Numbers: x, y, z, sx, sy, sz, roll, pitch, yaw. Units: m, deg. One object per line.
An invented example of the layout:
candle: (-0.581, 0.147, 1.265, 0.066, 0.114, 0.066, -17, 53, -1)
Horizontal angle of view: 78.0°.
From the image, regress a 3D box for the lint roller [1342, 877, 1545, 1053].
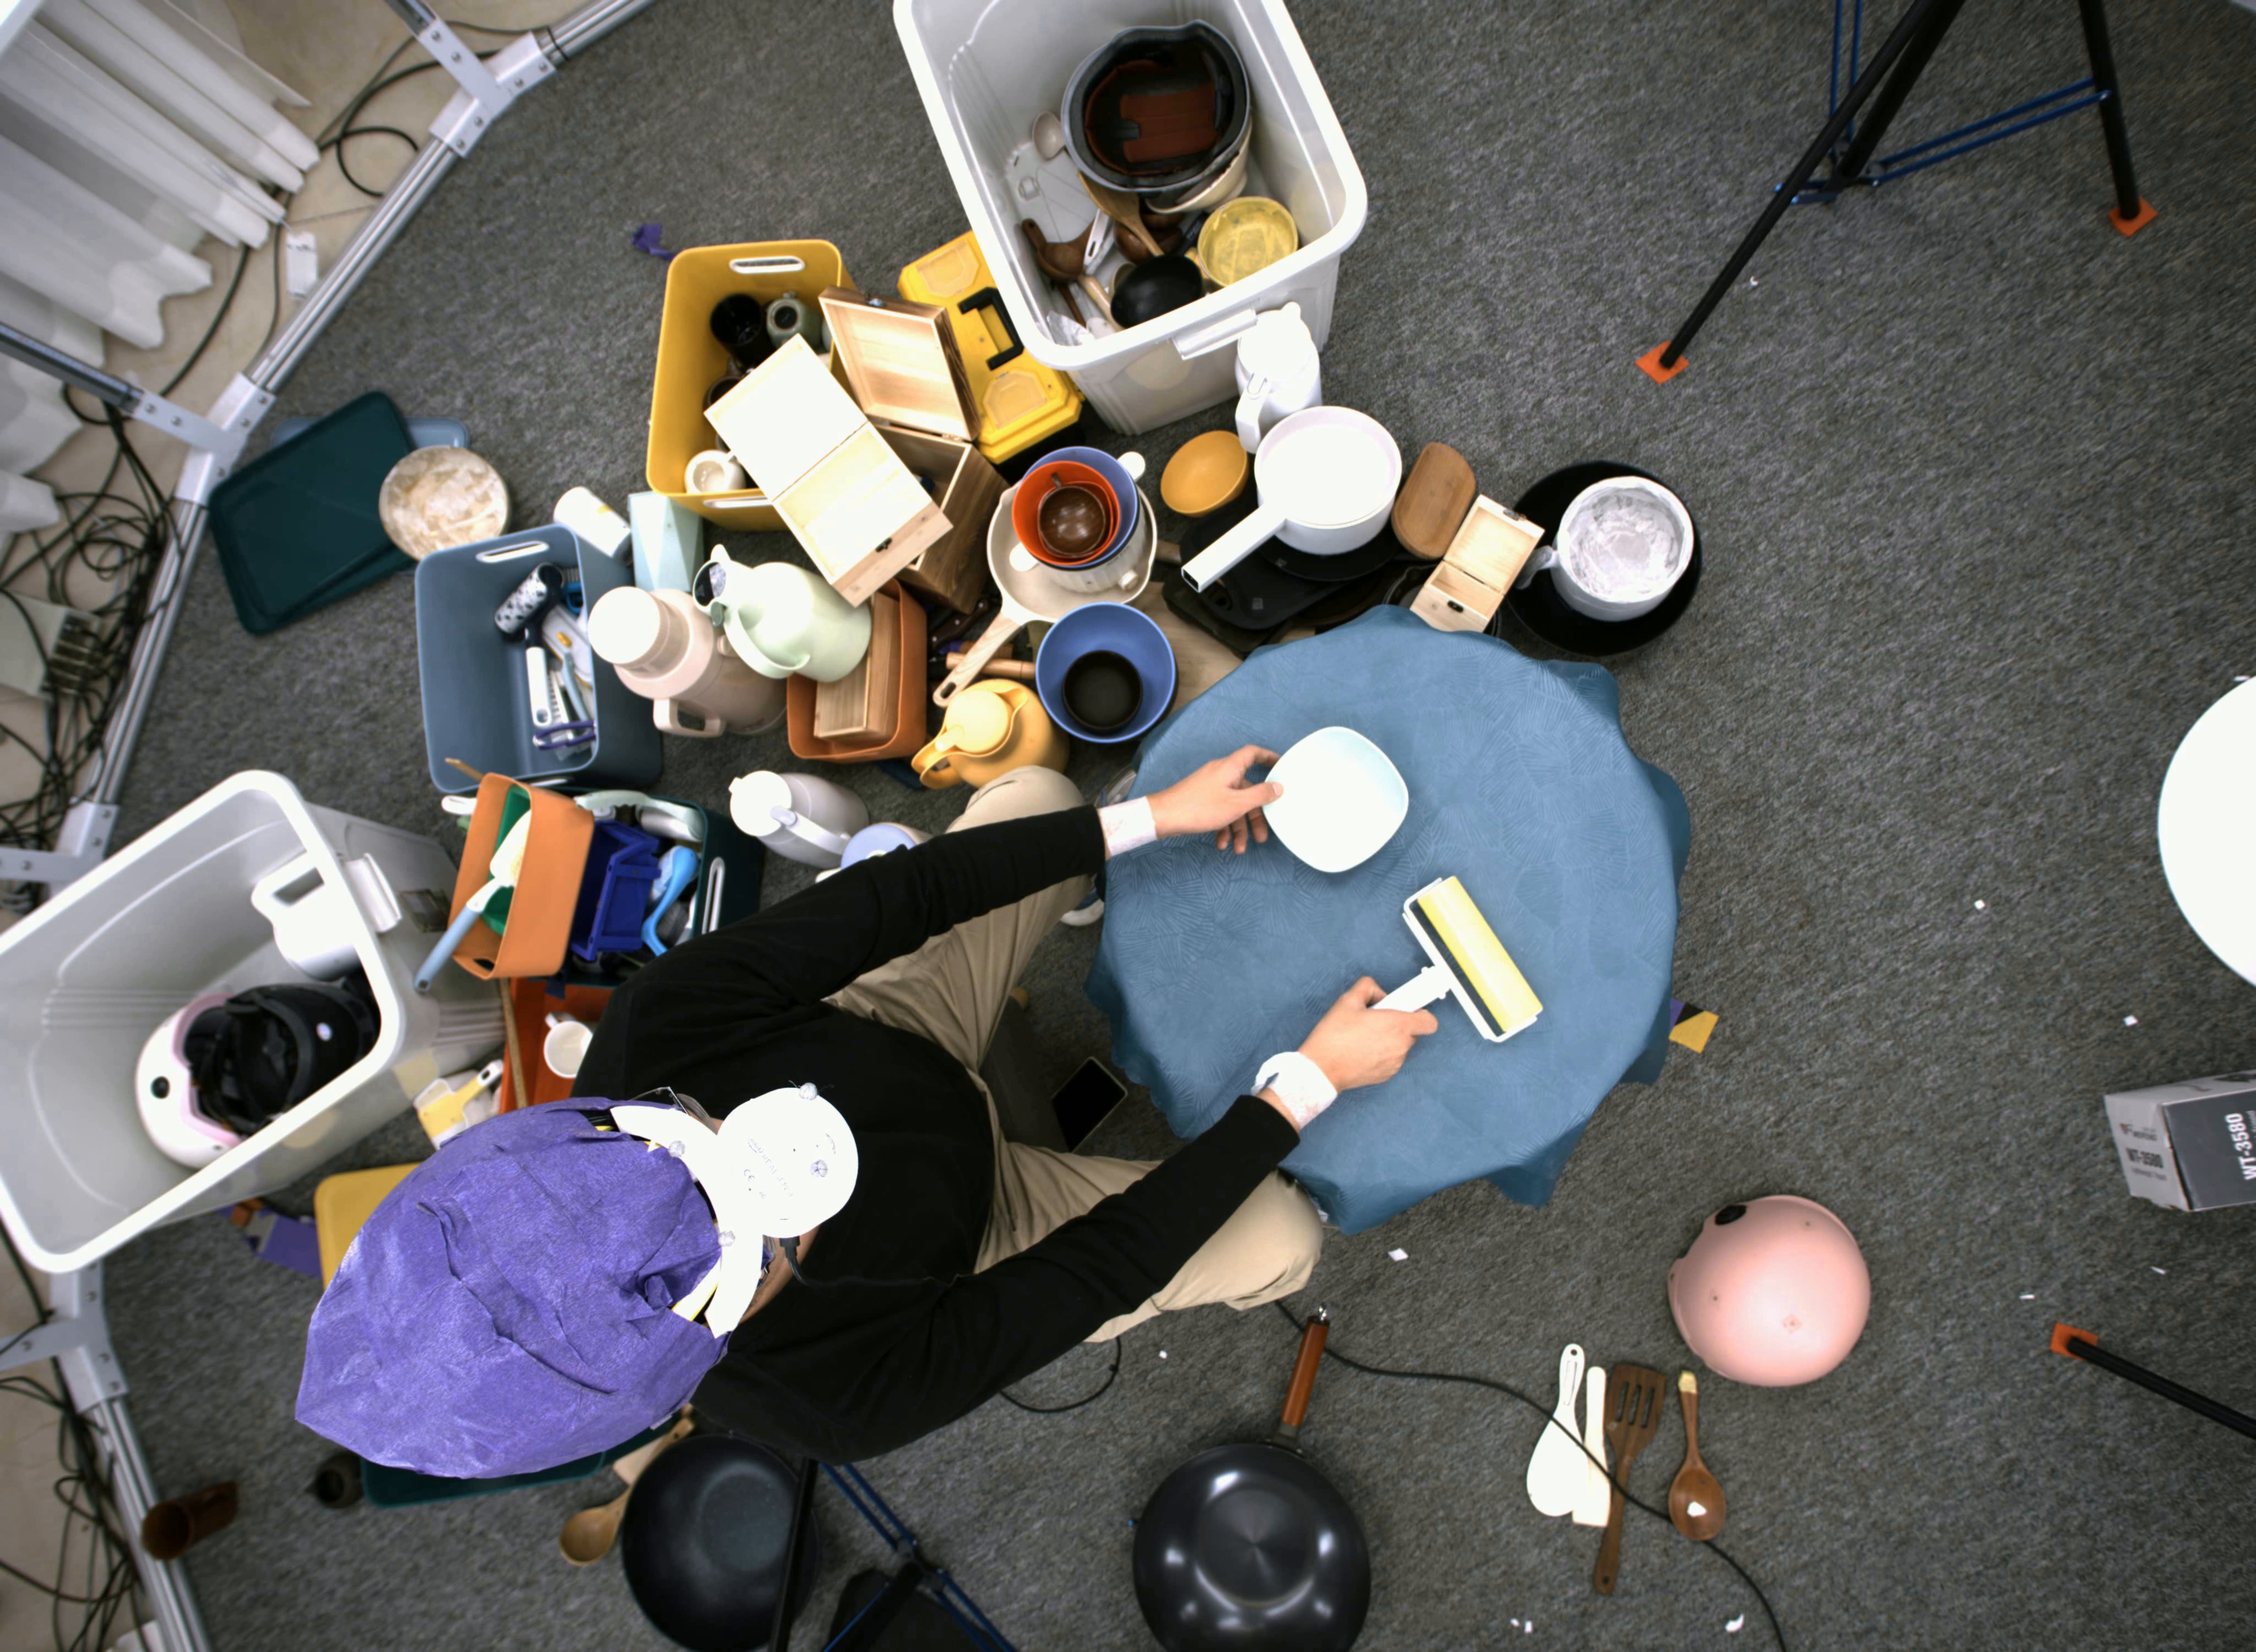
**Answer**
lint roller: (0.302, 0.169, 1.412, 0.191, 0.052, 0.173, -34, 82, -6)

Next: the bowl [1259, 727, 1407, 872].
bowl: (0.215, -0.026, 1.447, 0.152, 0.059, 0.150, -1, 86, 9)
